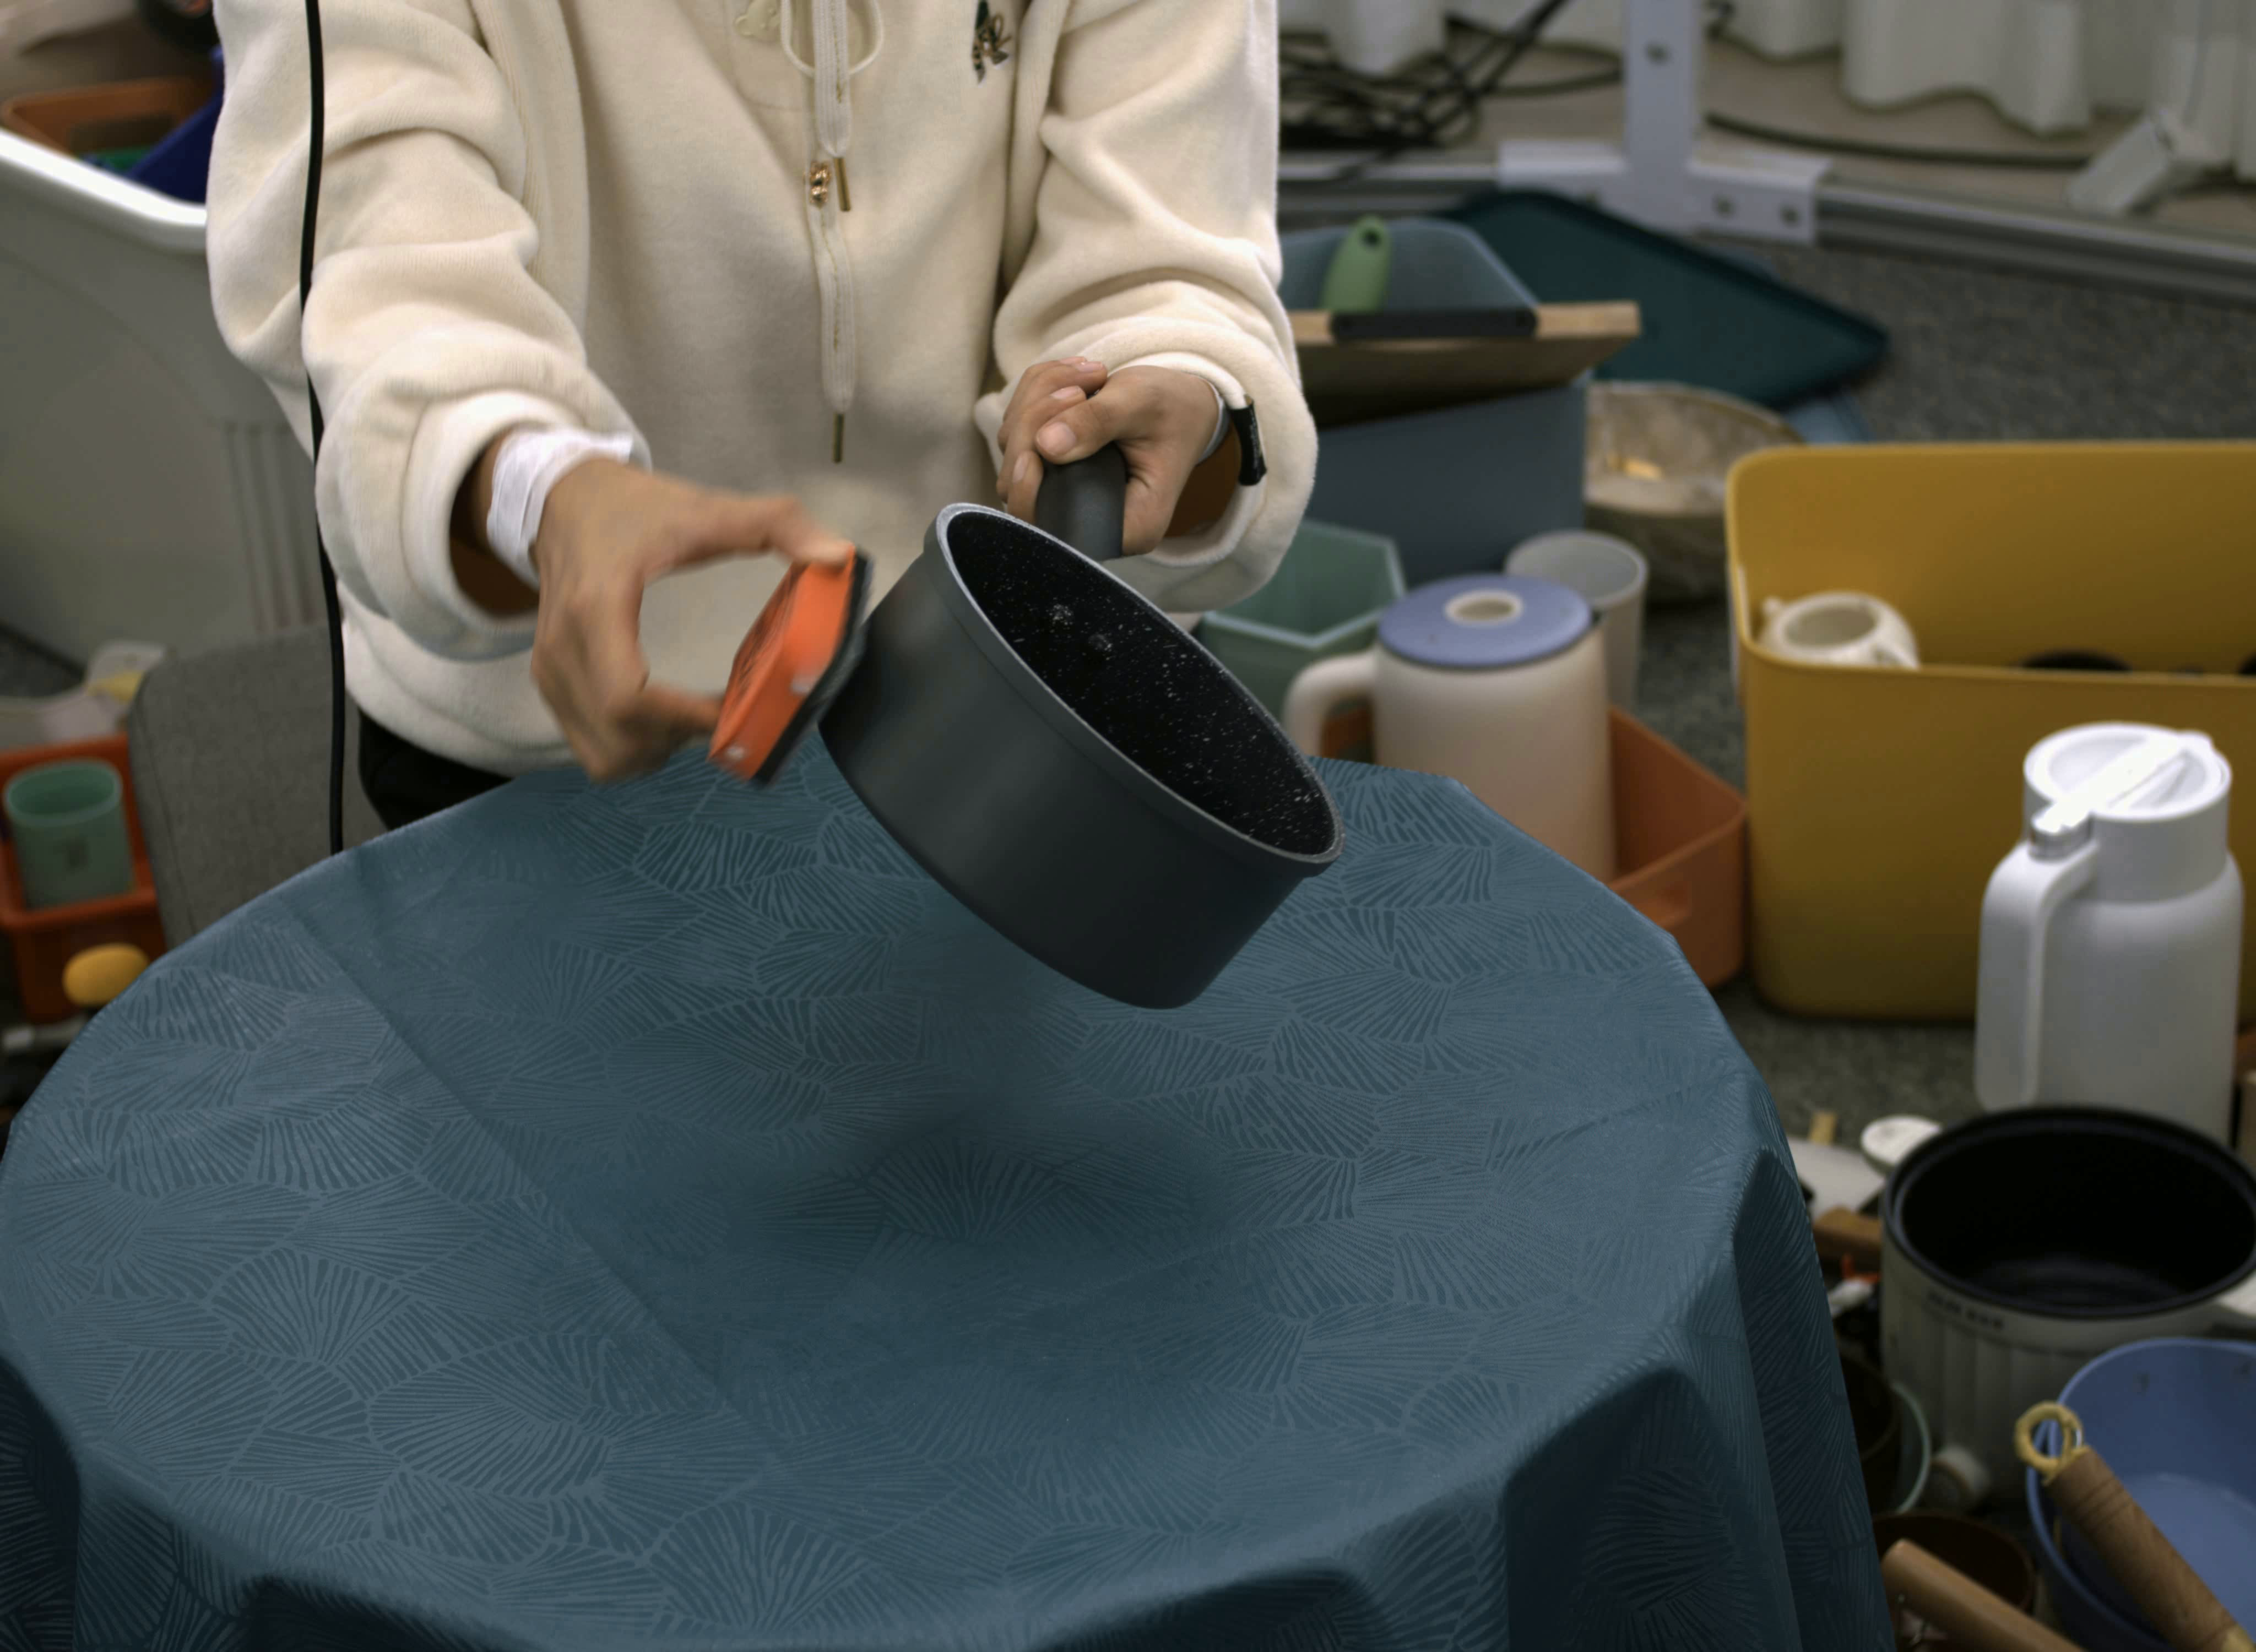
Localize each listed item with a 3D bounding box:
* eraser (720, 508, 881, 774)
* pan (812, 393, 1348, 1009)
[{"bbox_3d":[-0.105,-0.061,1.820,0.023,0.058,0.109,30,18,-10],"label":"eraser"},{"bbox_3d":[-0.021,-0.055,1.903,0.171,0.085,0.333,36,18,-16],"label":"pan"}]
